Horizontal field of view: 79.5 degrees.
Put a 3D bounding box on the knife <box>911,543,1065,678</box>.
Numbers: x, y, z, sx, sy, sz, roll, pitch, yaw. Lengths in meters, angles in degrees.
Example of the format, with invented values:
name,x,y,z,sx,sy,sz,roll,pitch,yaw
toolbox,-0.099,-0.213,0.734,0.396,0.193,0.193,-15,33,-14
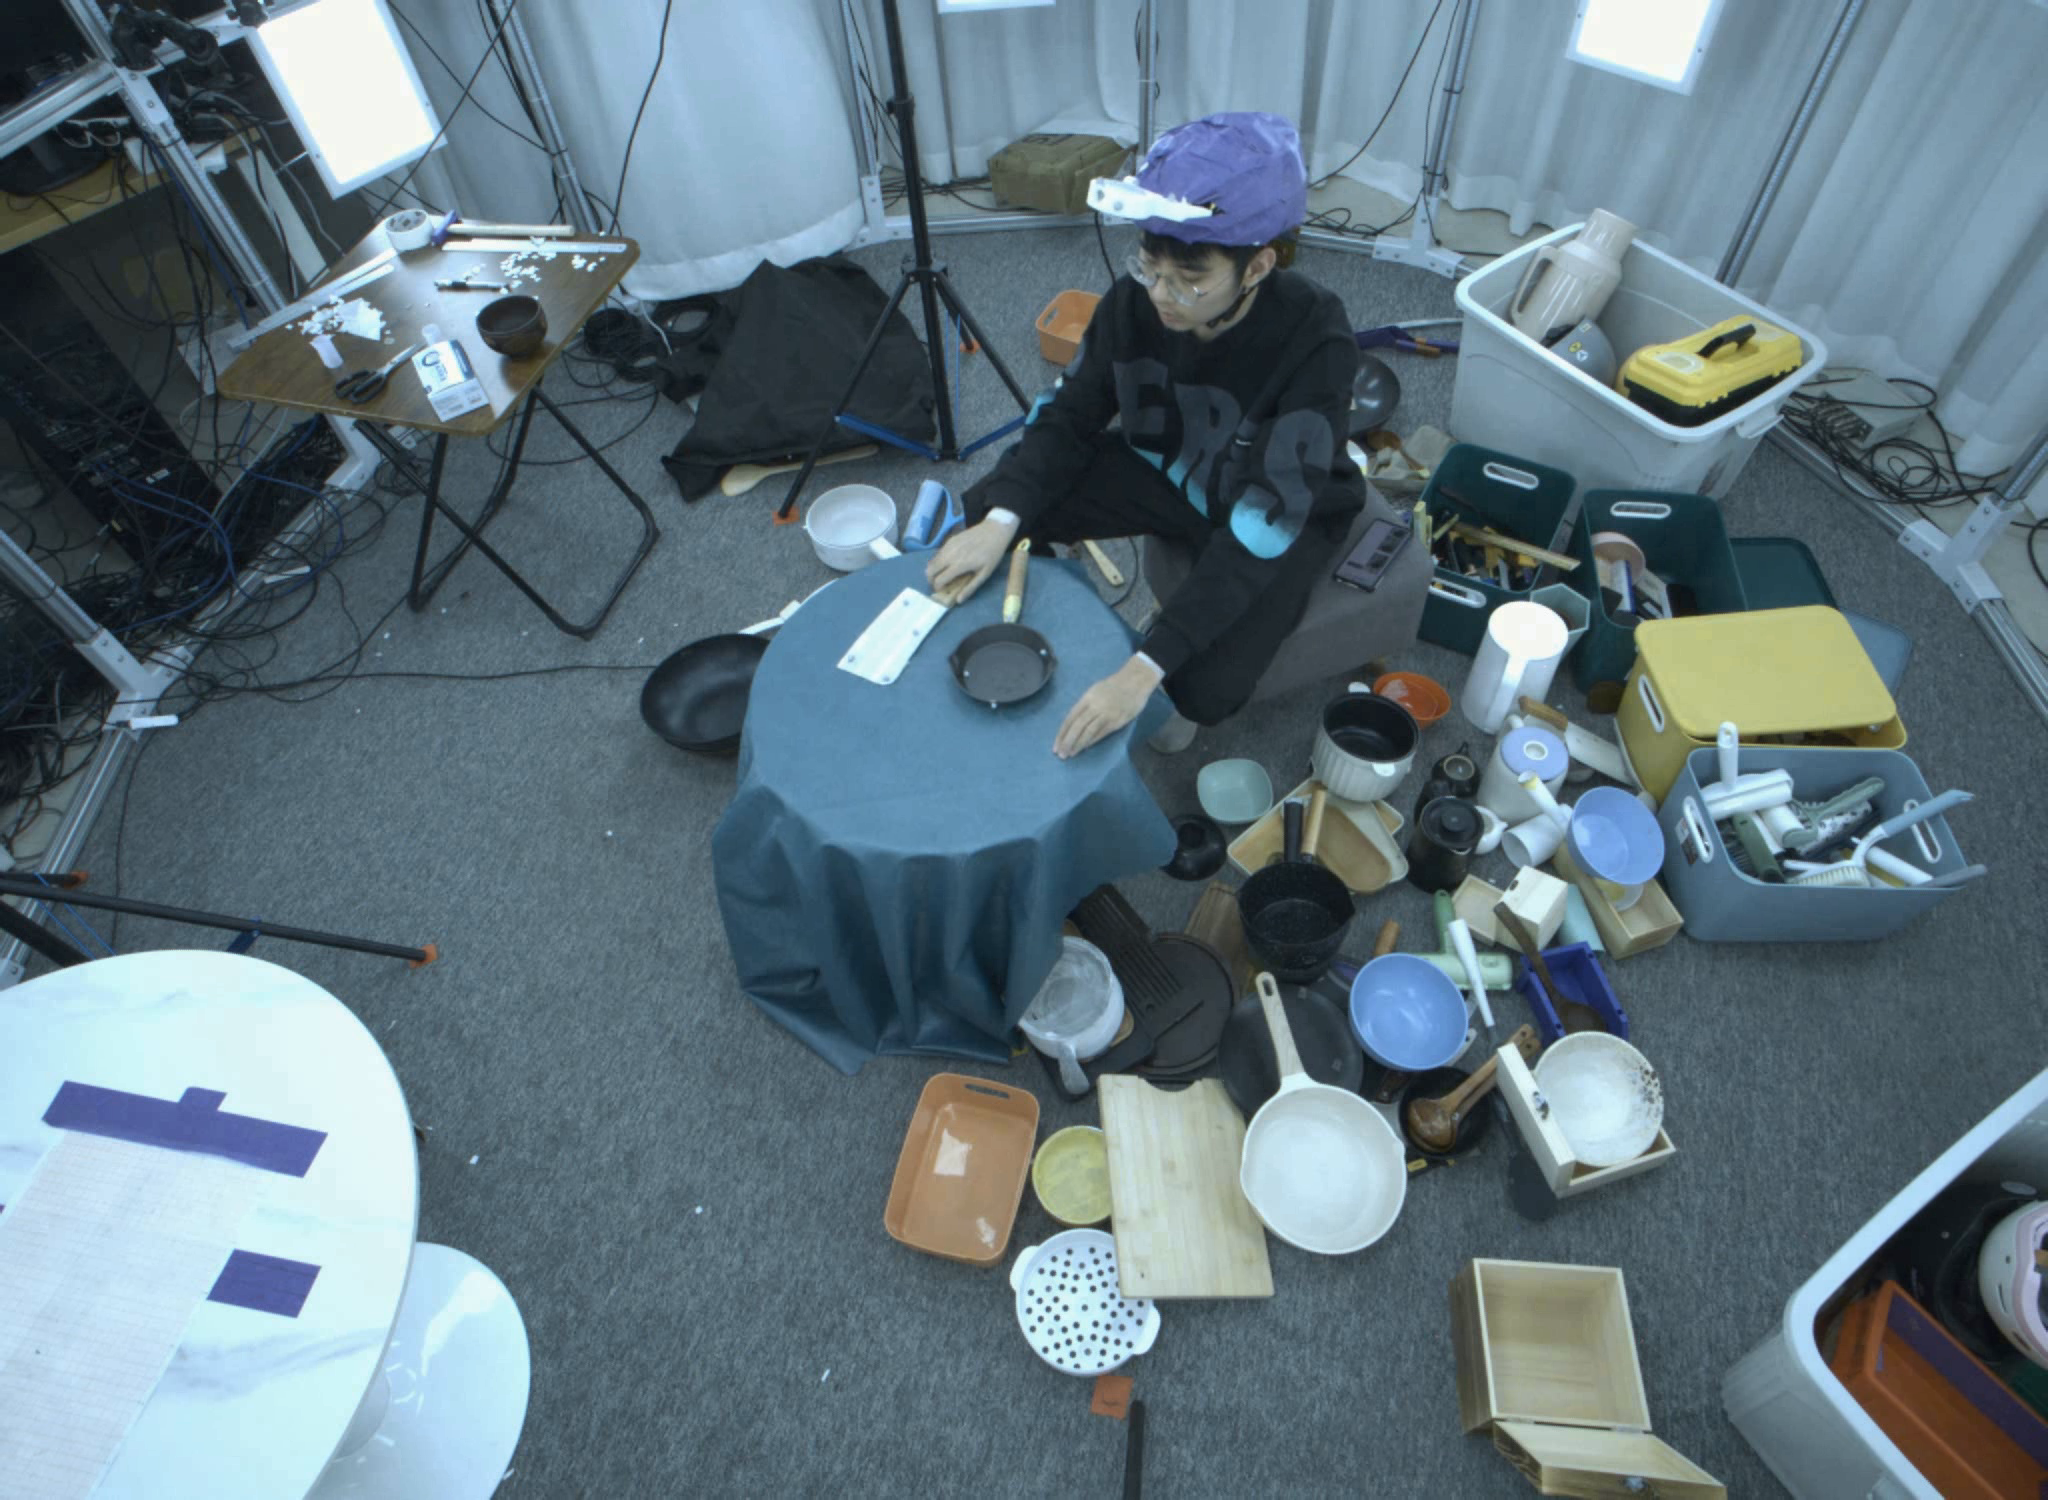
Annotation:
name,x,y,z,sx,sy,sz,roll,pitch,yaw
knife,-0.045,-0.225,1.937,0.112,0.022,0.317,34,65,24

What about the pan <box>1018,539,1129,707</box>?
name,x,y,z,sx,sy,sz,roll,pitch,yaw
pan,0.092,-0.195,1.891,0.168,0.050,0.322,9,57,9
